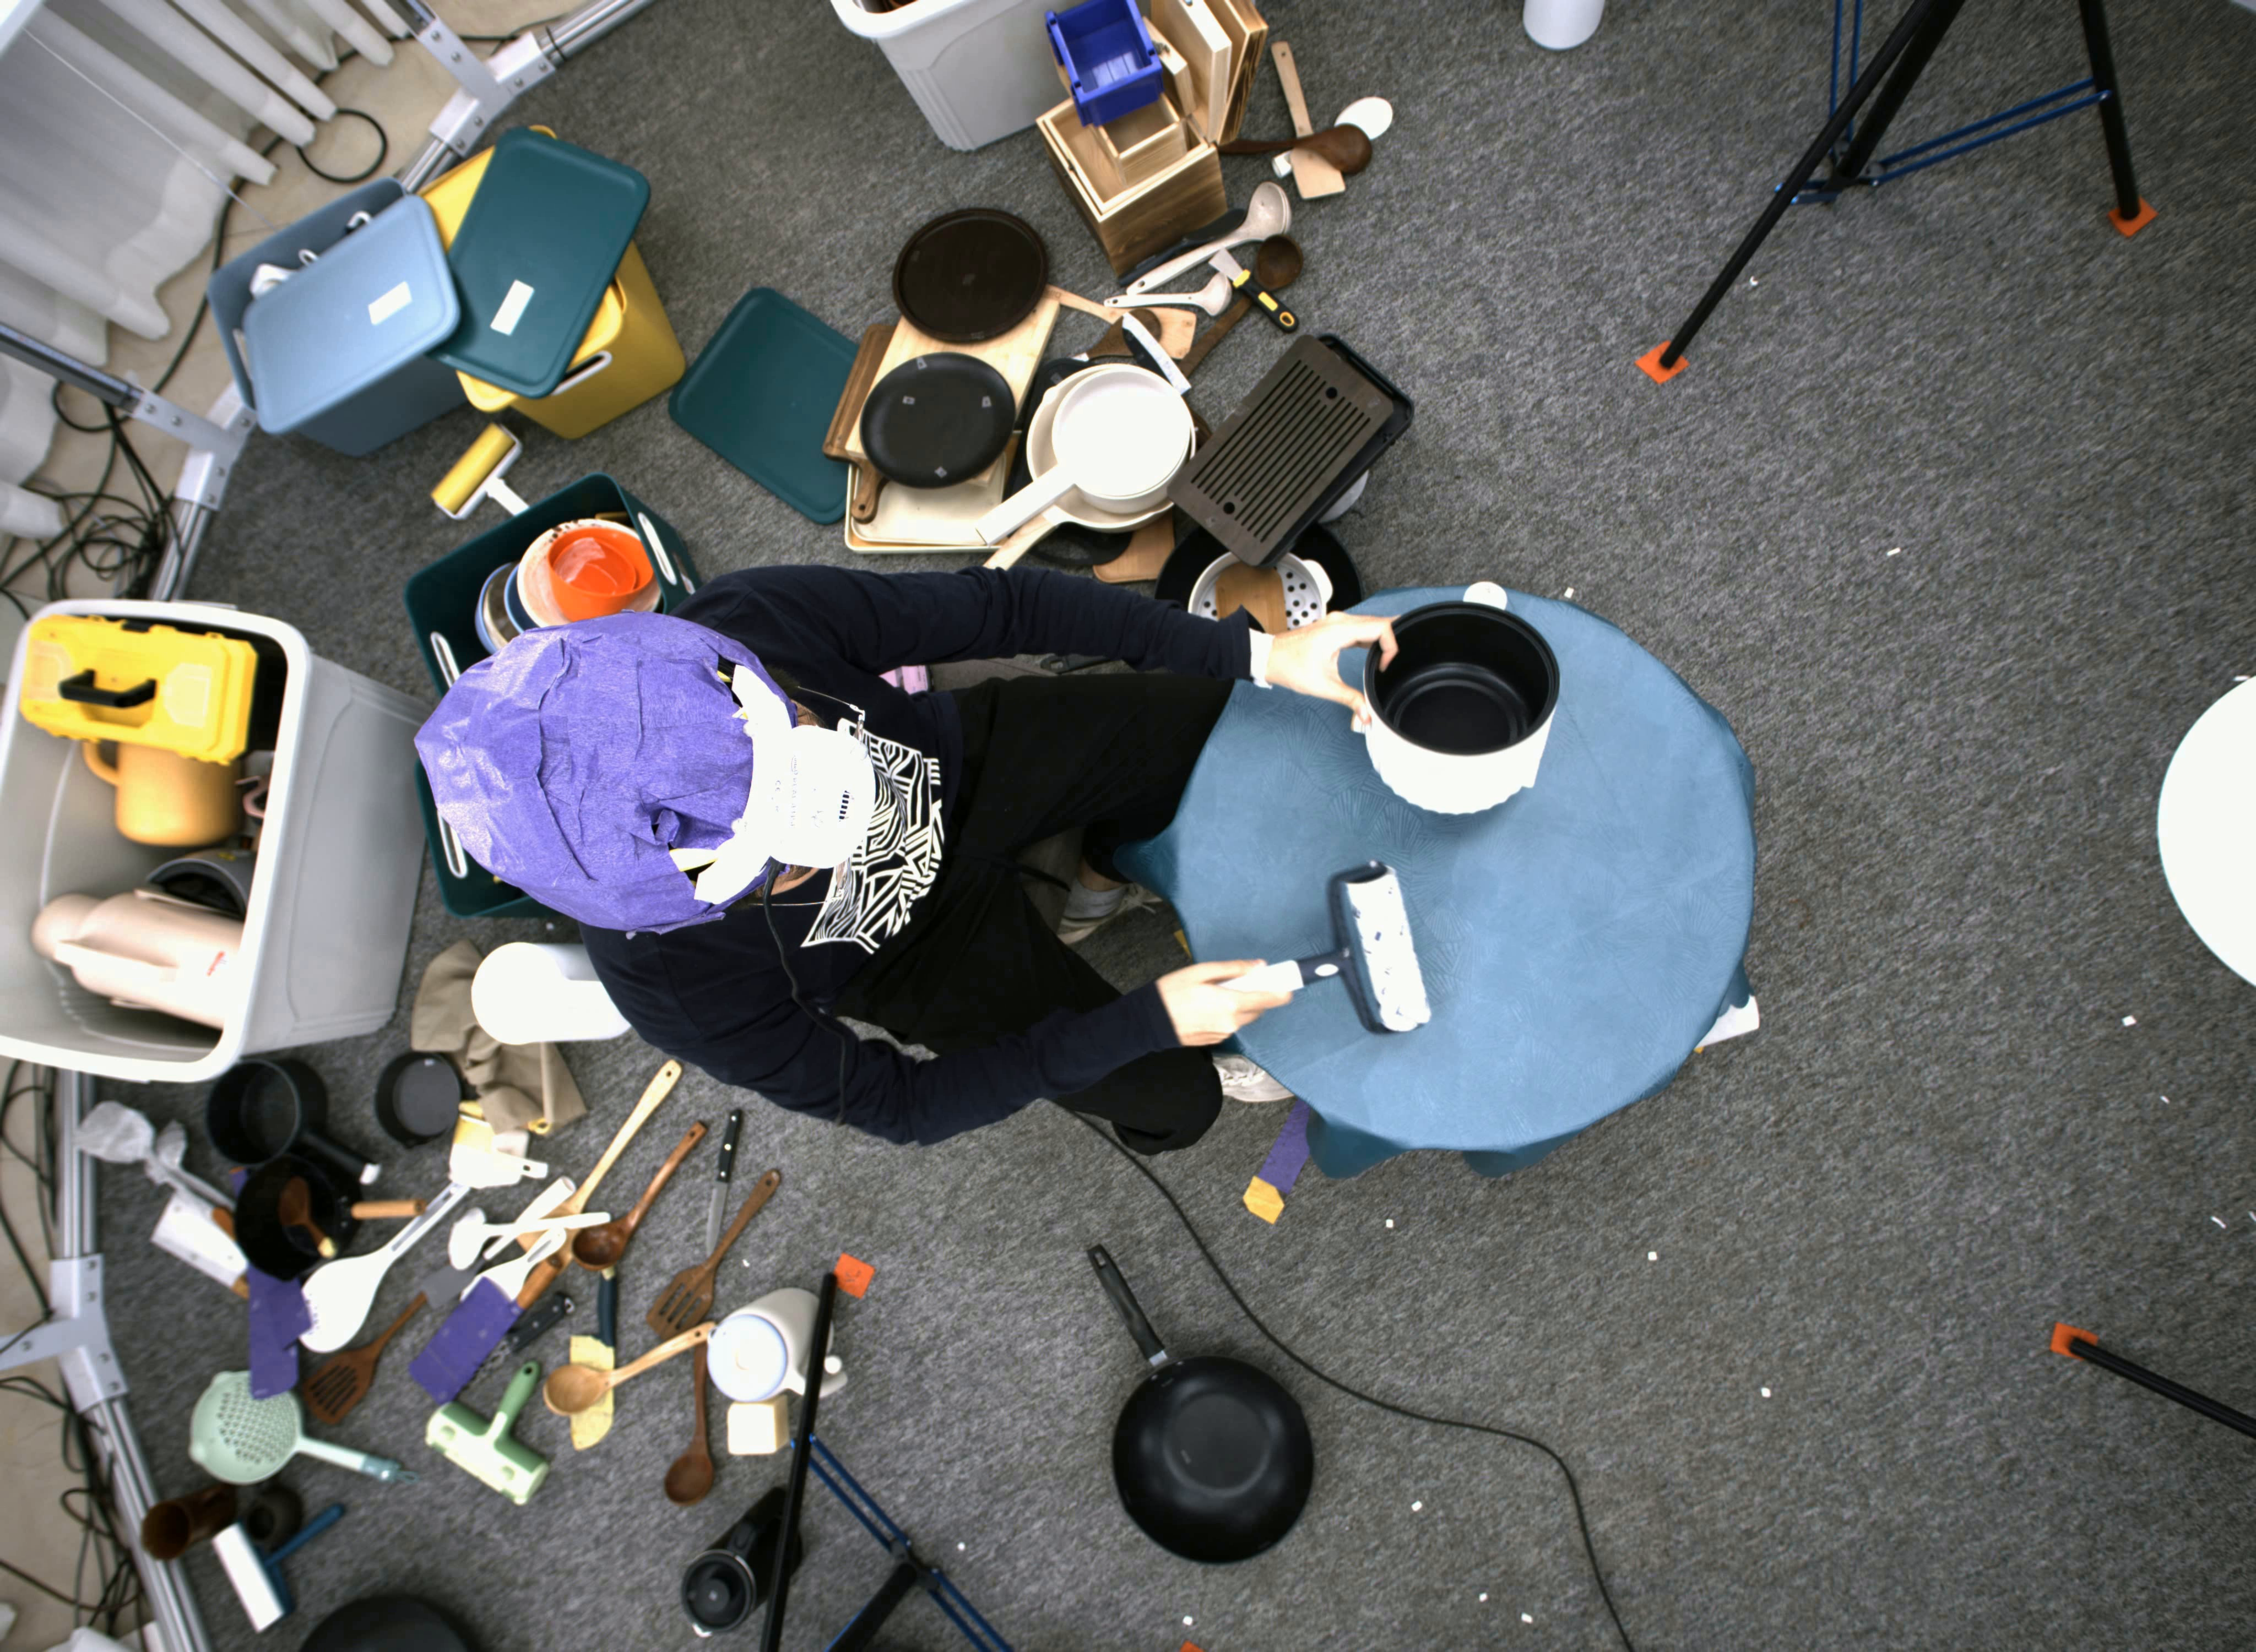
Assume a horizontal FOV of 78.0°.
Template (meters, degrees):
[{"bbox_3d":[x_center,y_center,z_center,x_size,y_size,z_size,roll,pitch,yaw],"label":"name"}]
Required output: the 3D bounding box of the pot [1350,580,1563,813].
[{"bbox_3d":[0.314,-0.111,1.334,0.191,0.146,0.235,15,62,14],"label":"pot"}]

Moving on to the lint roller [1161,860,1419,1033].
[{"bbox_3d":[0.153,0.148,1.374,0.248,0.049,0.178,-18,109,4],"label":"lint roller"}]
